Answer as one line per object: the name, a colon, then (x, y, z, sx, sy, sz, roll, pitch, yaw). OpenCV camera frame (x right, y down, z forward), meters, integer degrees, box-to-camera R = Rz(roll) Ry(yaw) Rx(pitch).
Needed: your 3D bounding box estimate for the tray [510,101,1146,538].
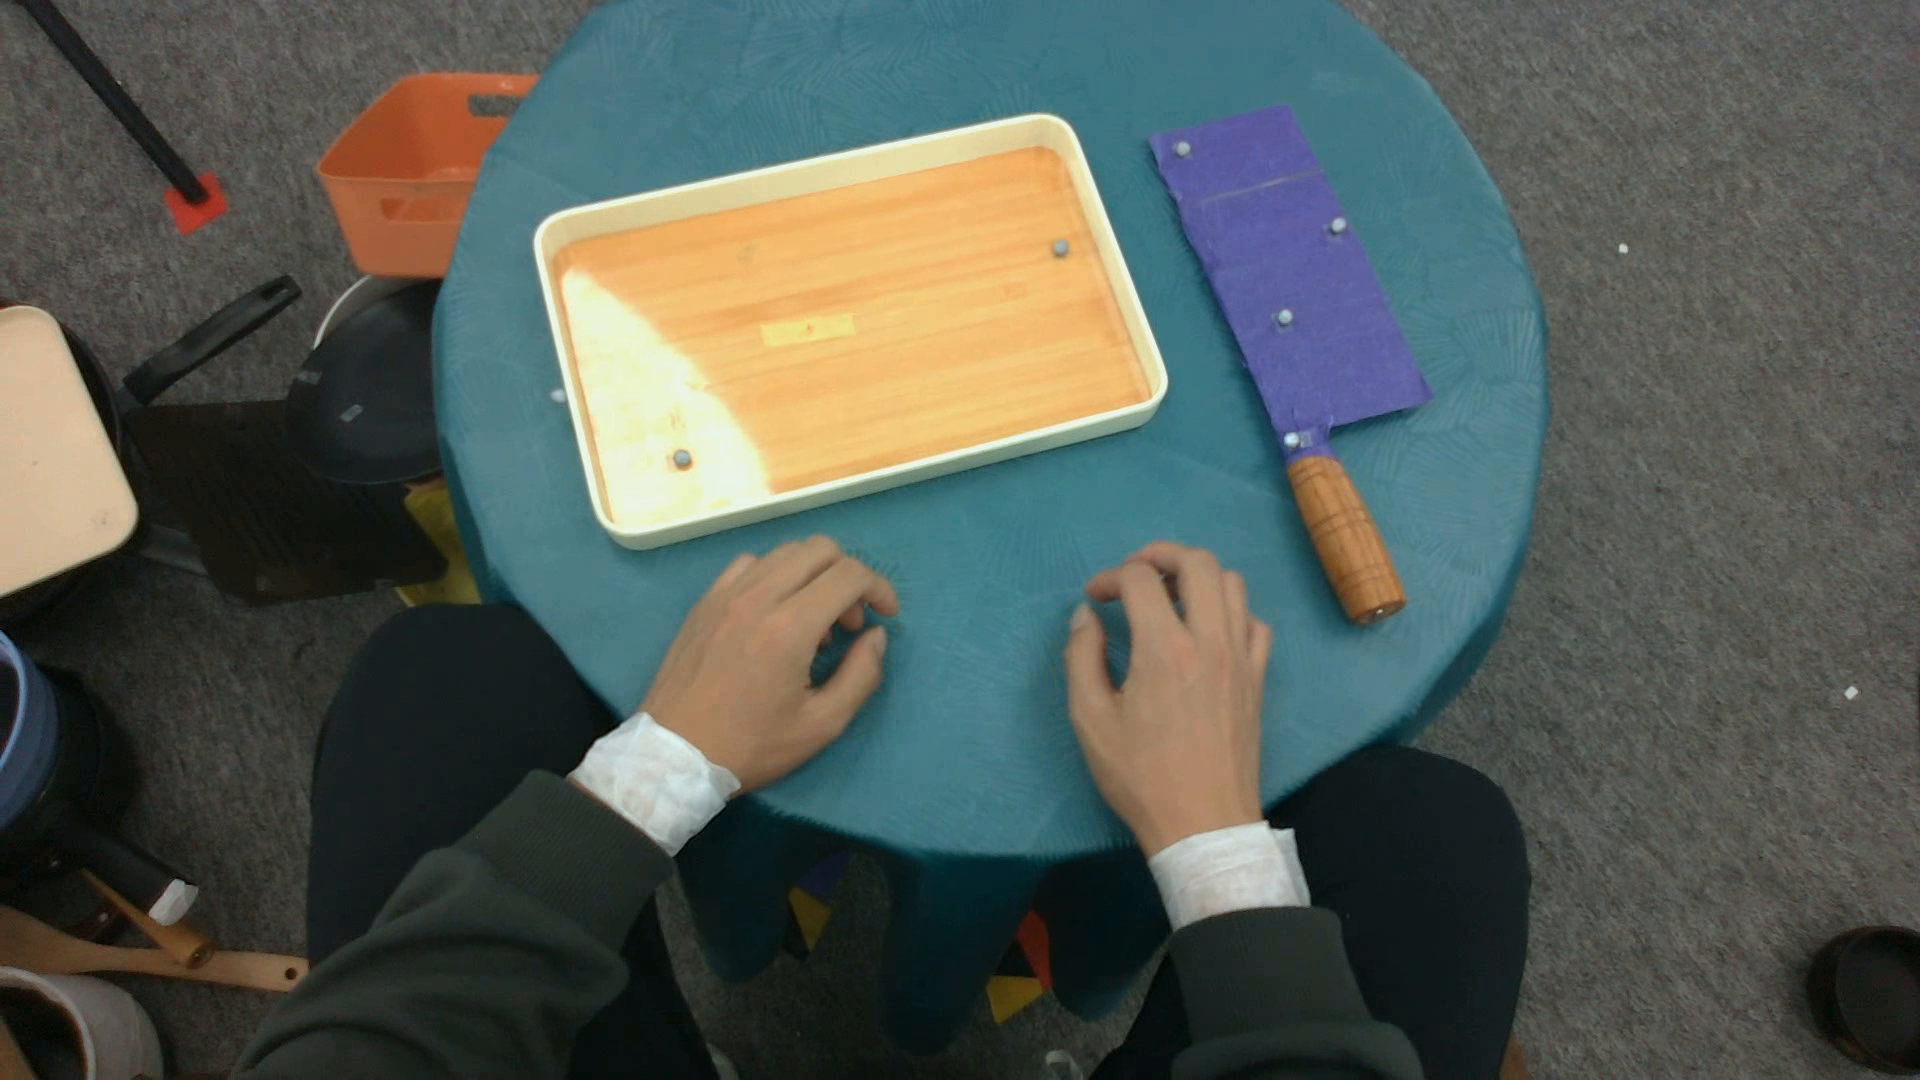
tray: (-0.069, -0.123, 0.727, 0.301, 0.027, 0.192, -15, 72, -10)

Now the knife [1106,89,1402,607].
knife: (0.181, -0.119, 0.746, 0.104, 0.032, 0.316, -16, 71, -10)
